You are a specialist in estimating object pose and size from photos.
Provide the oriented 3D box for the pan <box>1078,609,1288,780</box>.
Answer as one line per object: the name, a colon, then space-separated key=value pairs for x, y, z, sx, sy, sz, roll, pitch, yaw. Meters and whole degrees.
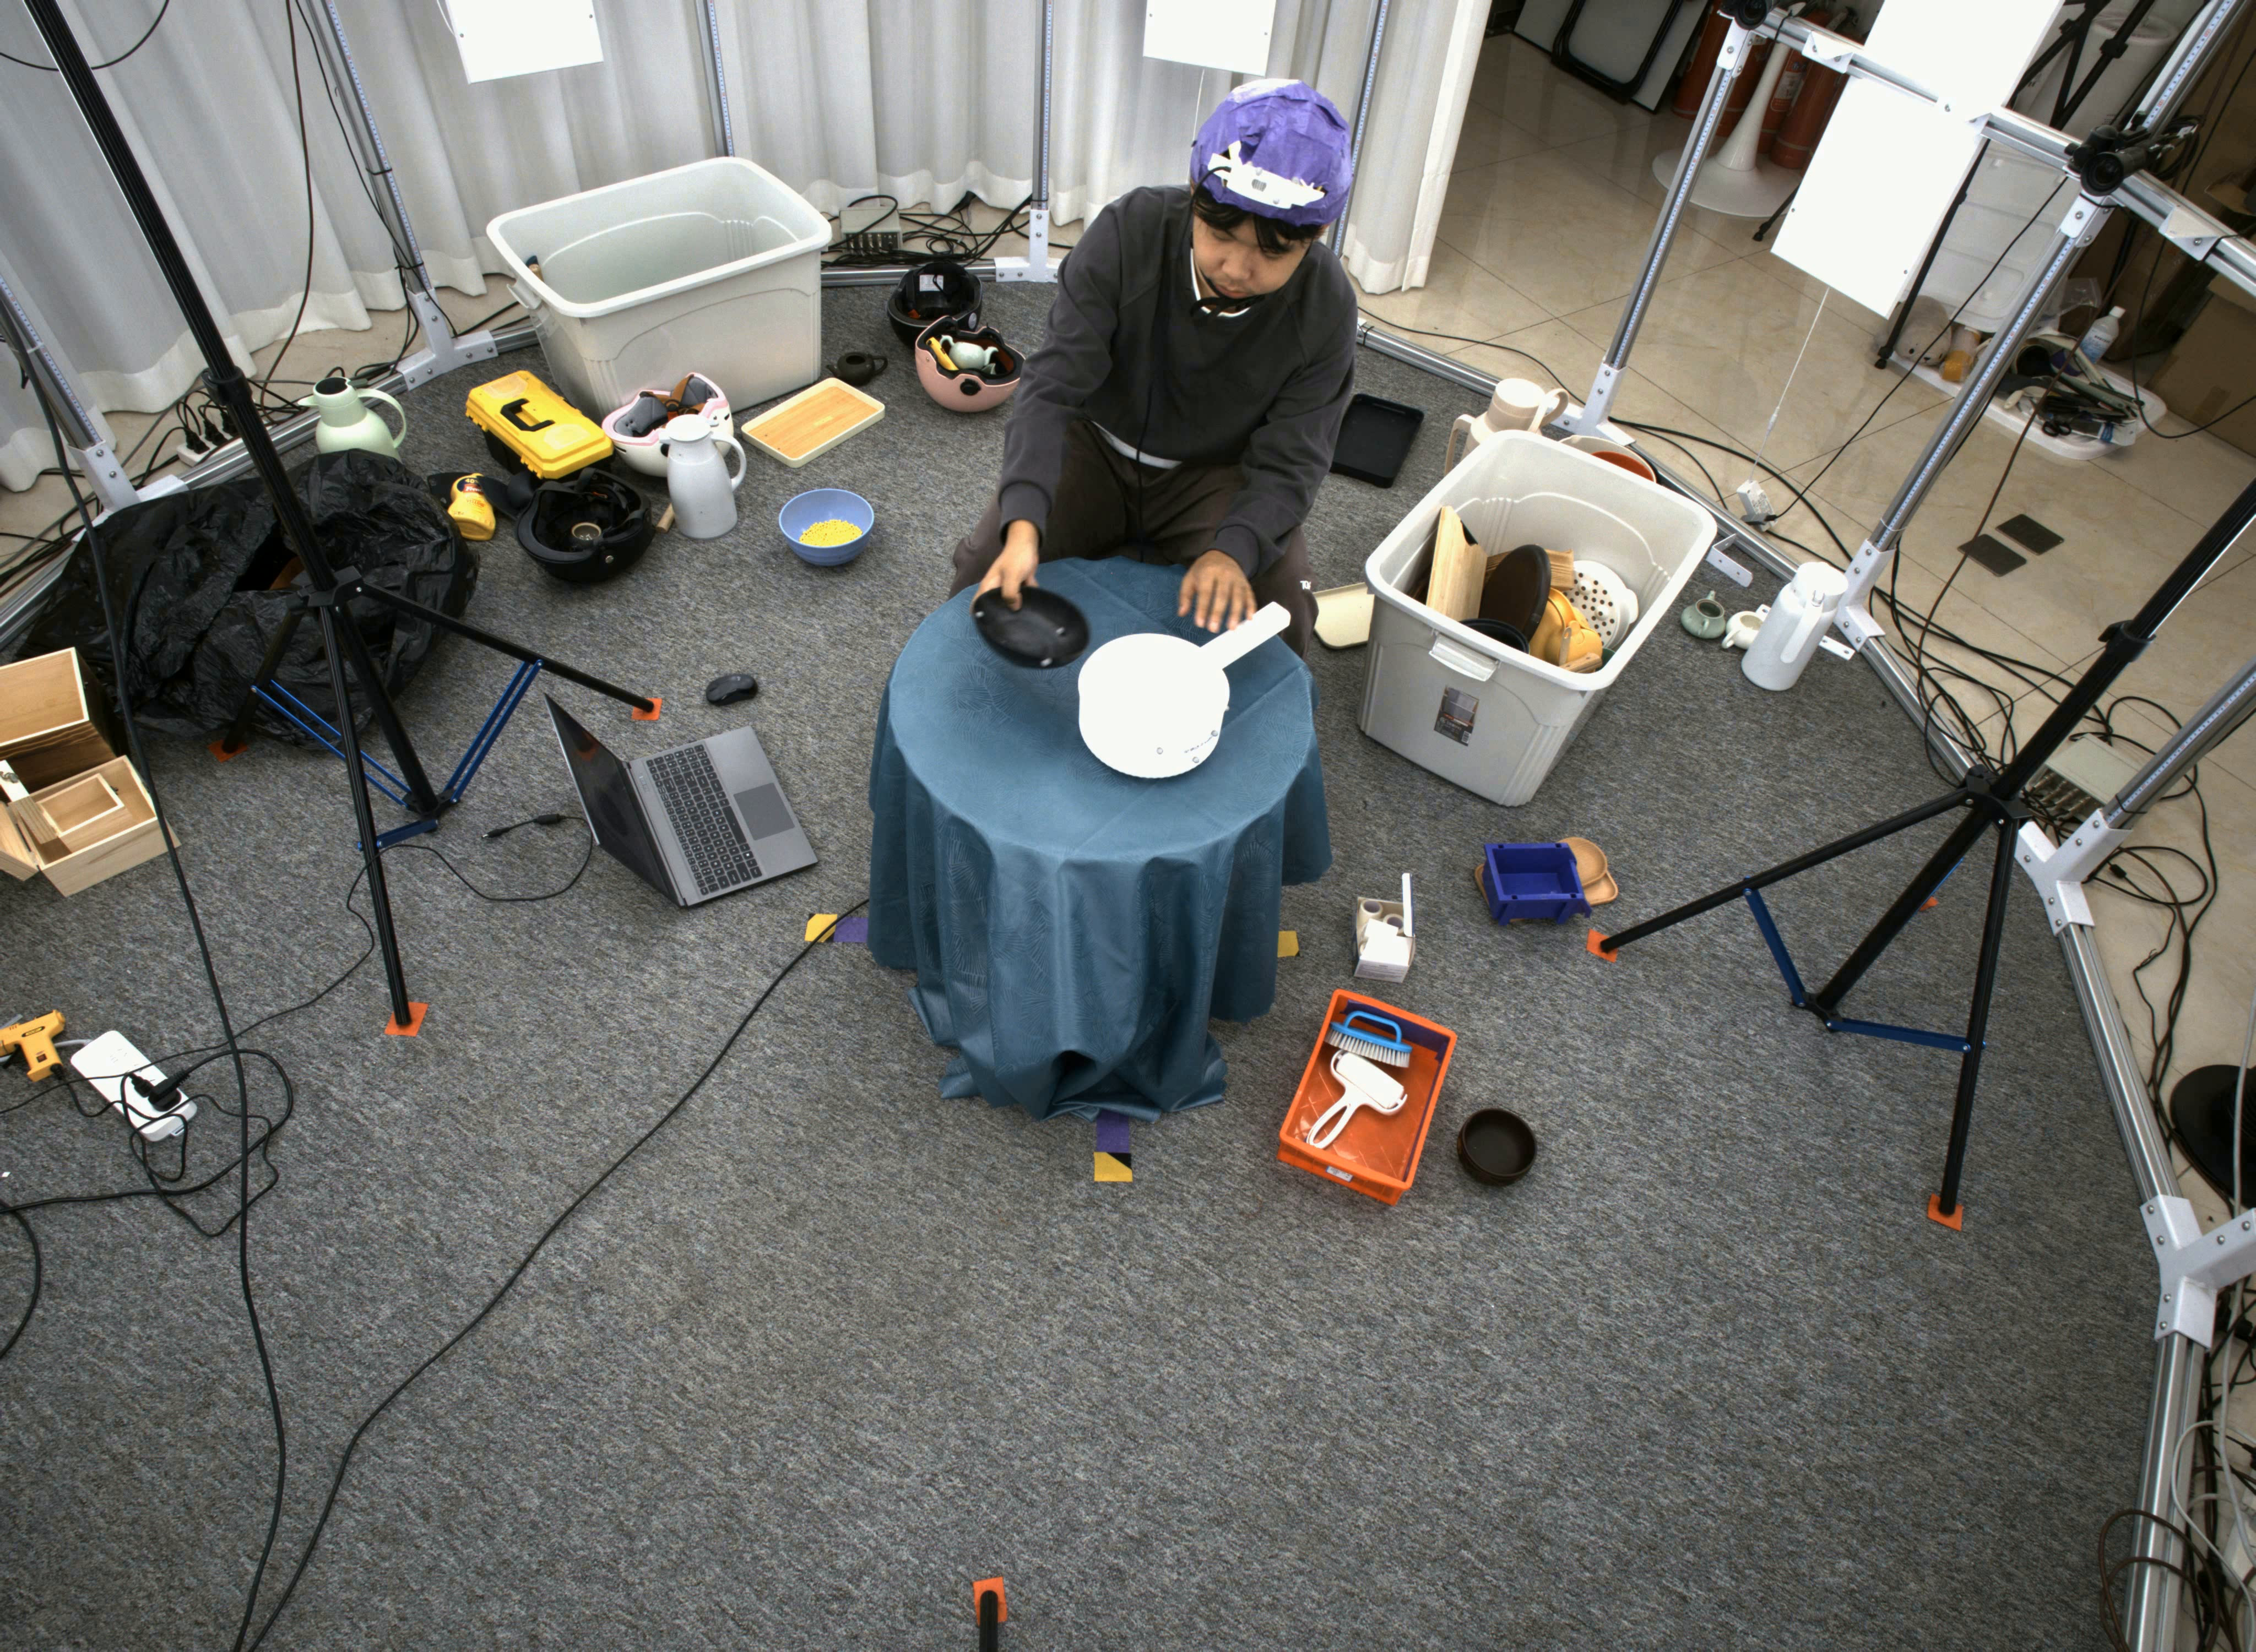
pan: x=0.087 y=-0.190 z=1.784 sx=0.358 sy=0.099 sz=0.204 roll=-33 pitch=55 yaw=-31

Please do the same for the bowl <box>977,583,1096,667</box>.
bowl: x=-0.127 y=-0.261 z=1.739 sx=0.171 sy=0.065 sz=0.139 roll=25 pitch=47 yaw=13
